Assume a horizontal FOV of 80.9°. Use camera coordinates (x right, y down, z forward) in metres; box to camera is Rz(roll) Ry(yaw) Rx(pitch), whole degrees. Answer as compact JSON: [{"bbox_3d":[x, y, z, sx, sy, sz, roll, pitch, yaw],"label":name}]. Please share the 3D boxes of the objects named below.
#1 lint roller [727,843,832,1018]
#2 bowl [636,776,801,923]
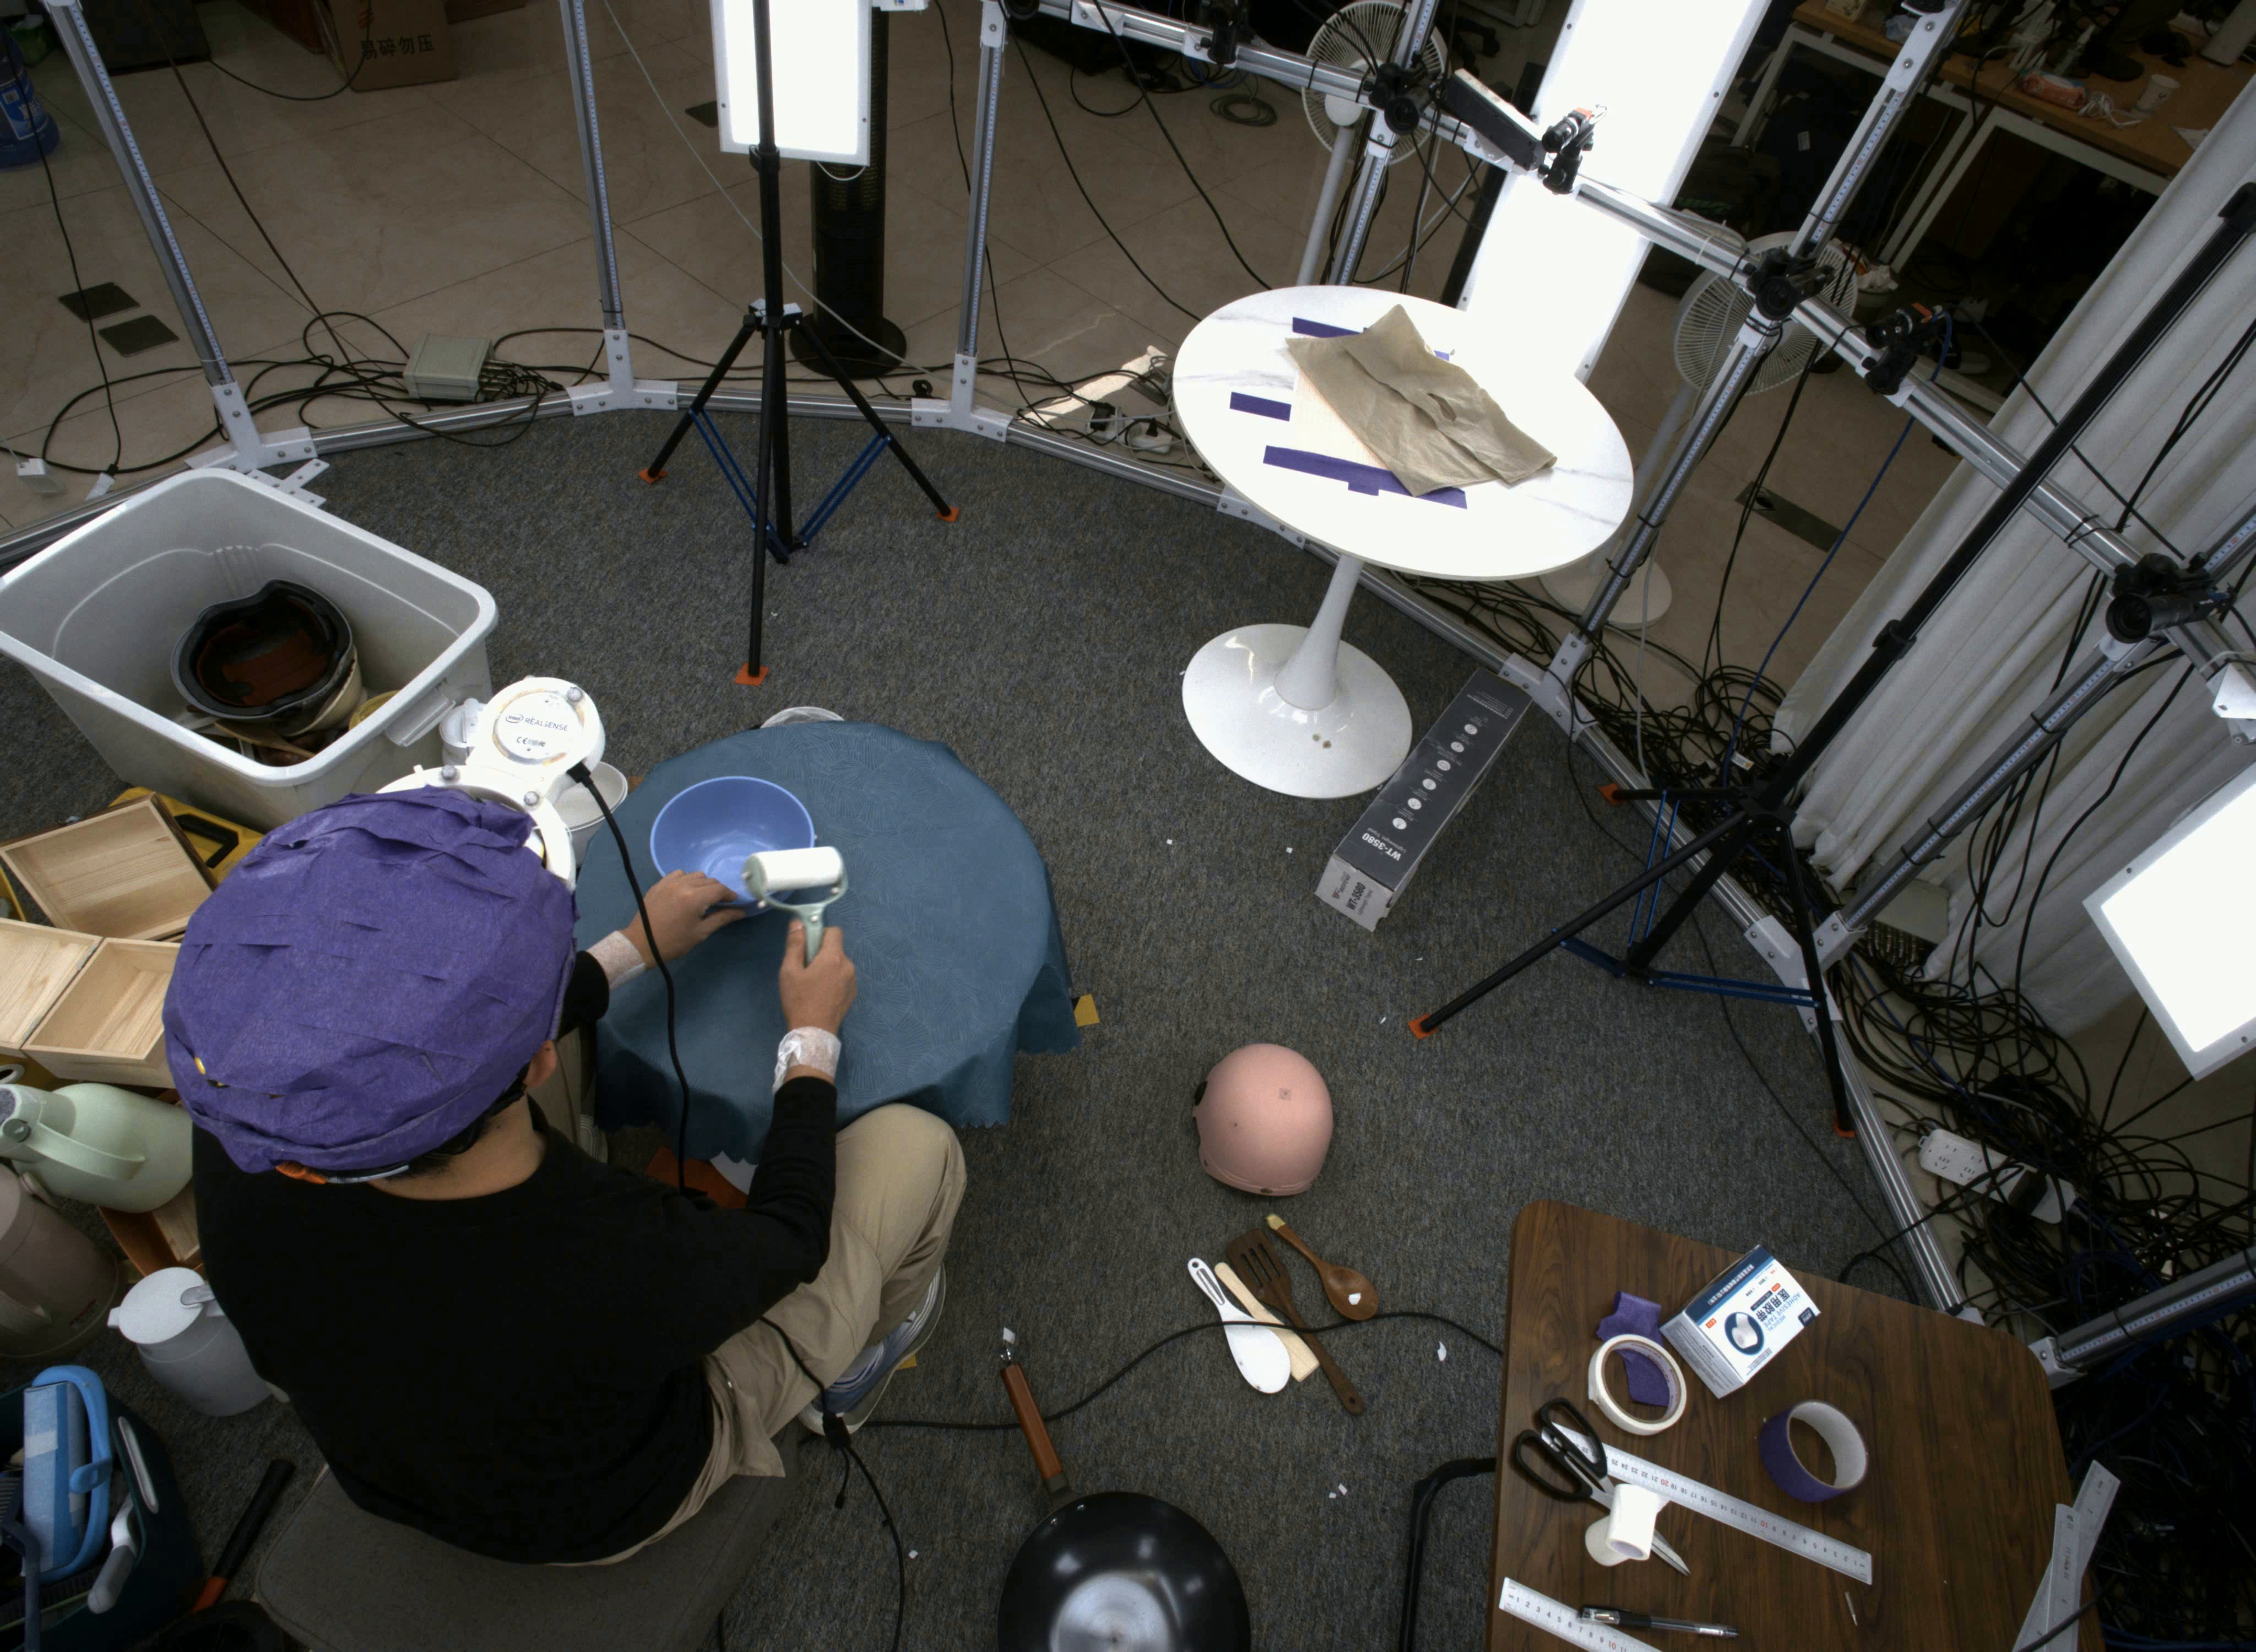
[{"bbox_3d":[-0.387,0.118,1.487,0.119,0.047,0.198,-6,80,-47],"label":"lint roller"},{"bbox_3d":[-0.505,0.043,1.603,0.196,0.097,0.193,9,52,-9],"label":"bowl"}]
